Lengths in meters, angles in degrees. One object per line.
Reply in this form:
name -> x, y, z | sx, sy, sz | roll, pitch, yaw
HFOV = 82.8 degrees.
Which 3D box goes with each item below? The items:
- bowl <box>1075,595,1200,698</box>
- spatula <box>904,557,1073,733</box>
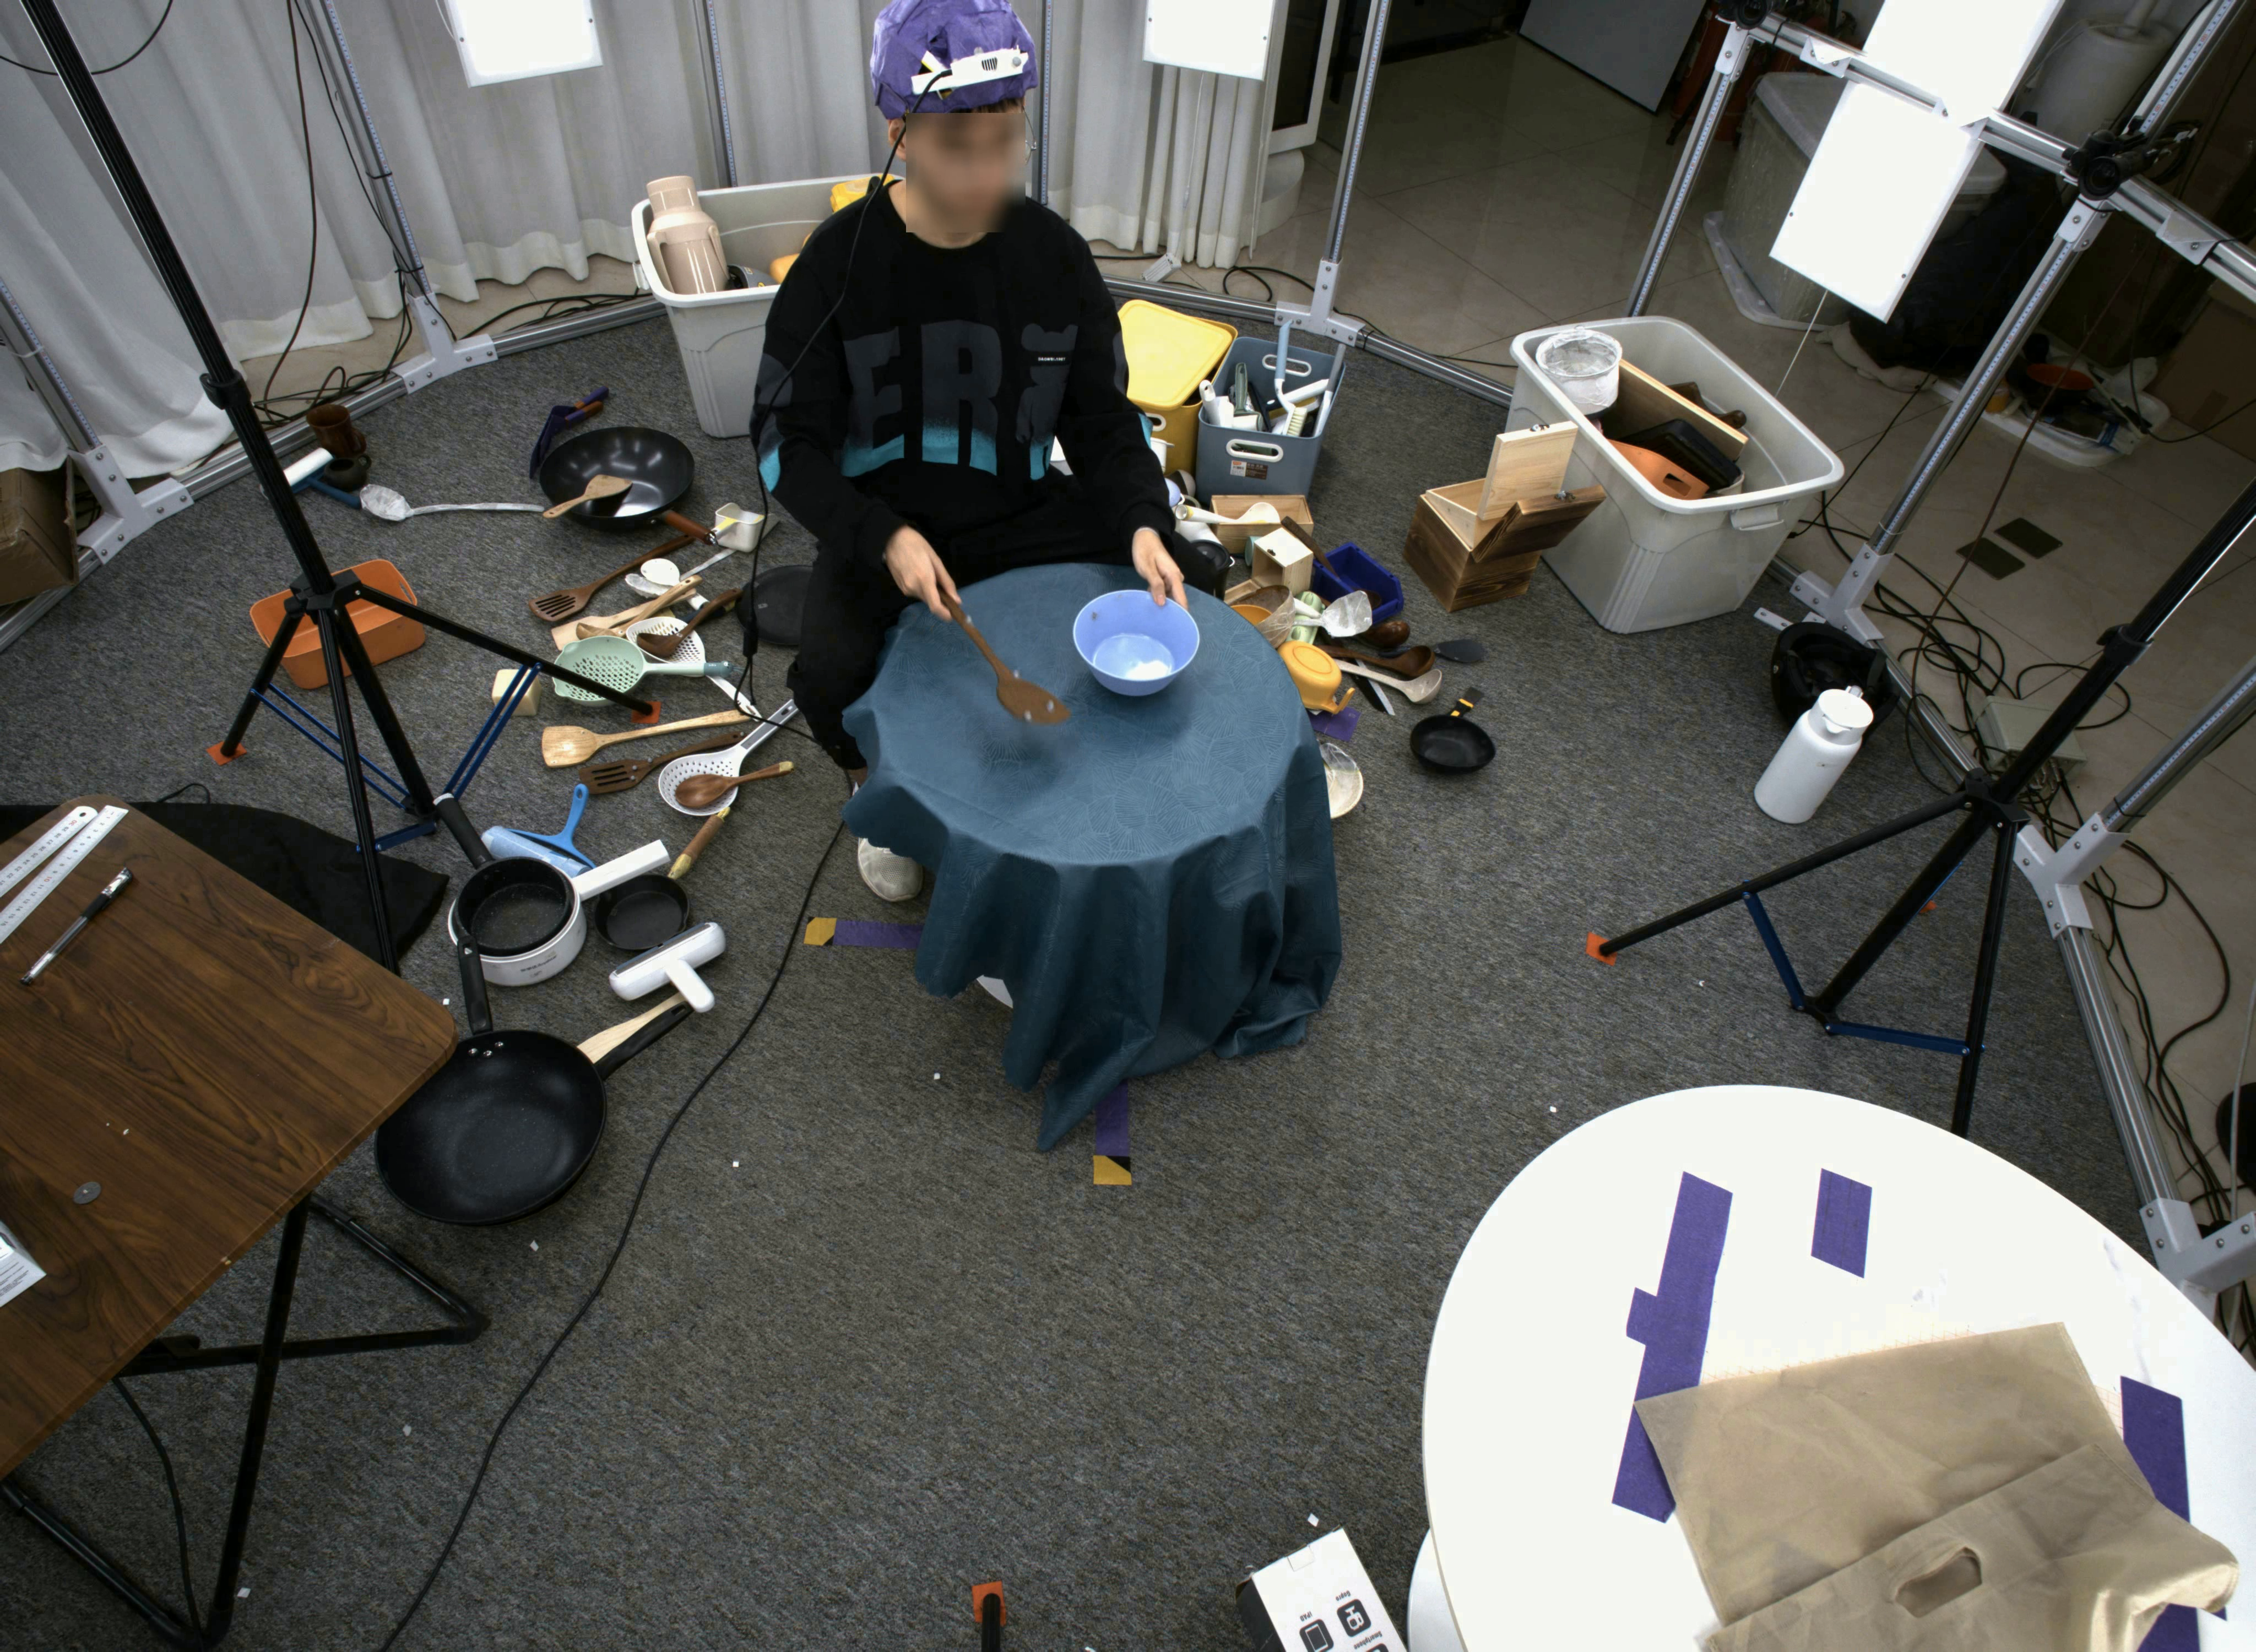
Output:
bowl -> 0.012, -0.245, 1.825 | 0.176, 0.068, 0.180 | 2, 50, -3
spatula -> -0.210, -0.258, 1.791 | 0.096, 0.015, 0.393 | -10, 51, -43
